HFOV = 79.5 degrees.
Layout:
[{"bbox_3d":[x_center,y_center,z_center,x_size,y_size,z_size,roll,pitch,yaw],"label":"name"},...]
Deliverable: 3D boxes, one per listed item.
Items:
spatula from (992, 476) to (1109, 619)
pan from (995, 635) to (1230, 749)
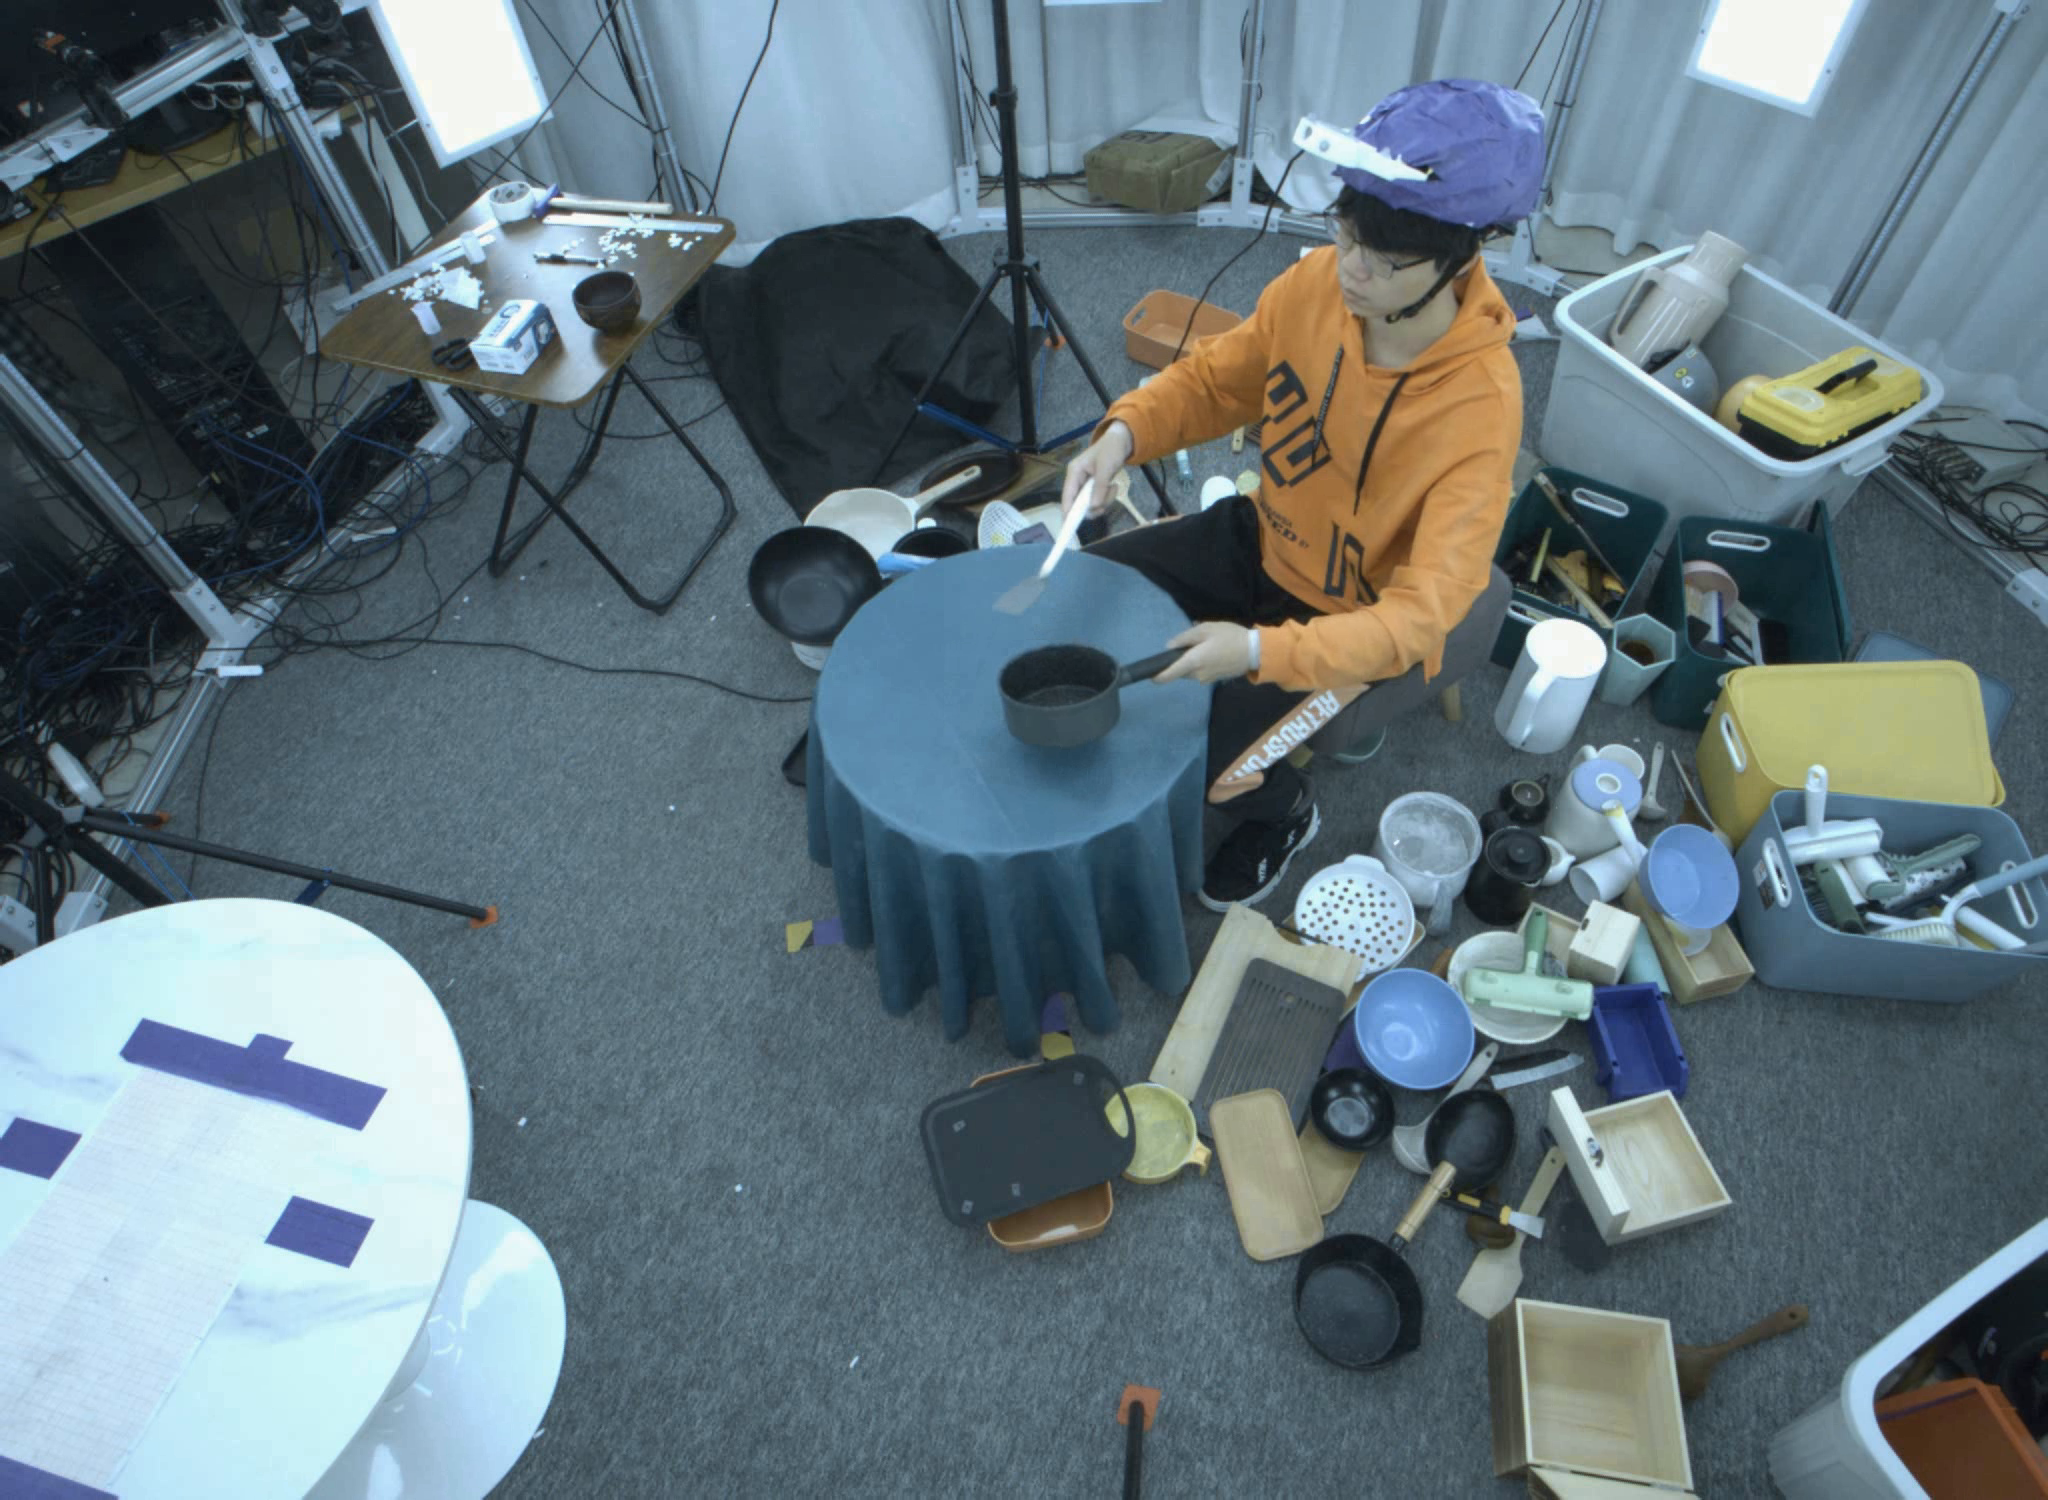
[{"bbox_3d":[0.045,-0.288,1.757,0.057,0.033,0.288,18,61,25],"label":"spatula"},{"bbox_3d":[0.127,-0.093,1.728,0.329,0.087,0.169,-10,37,-3],"label":"pan"}]
